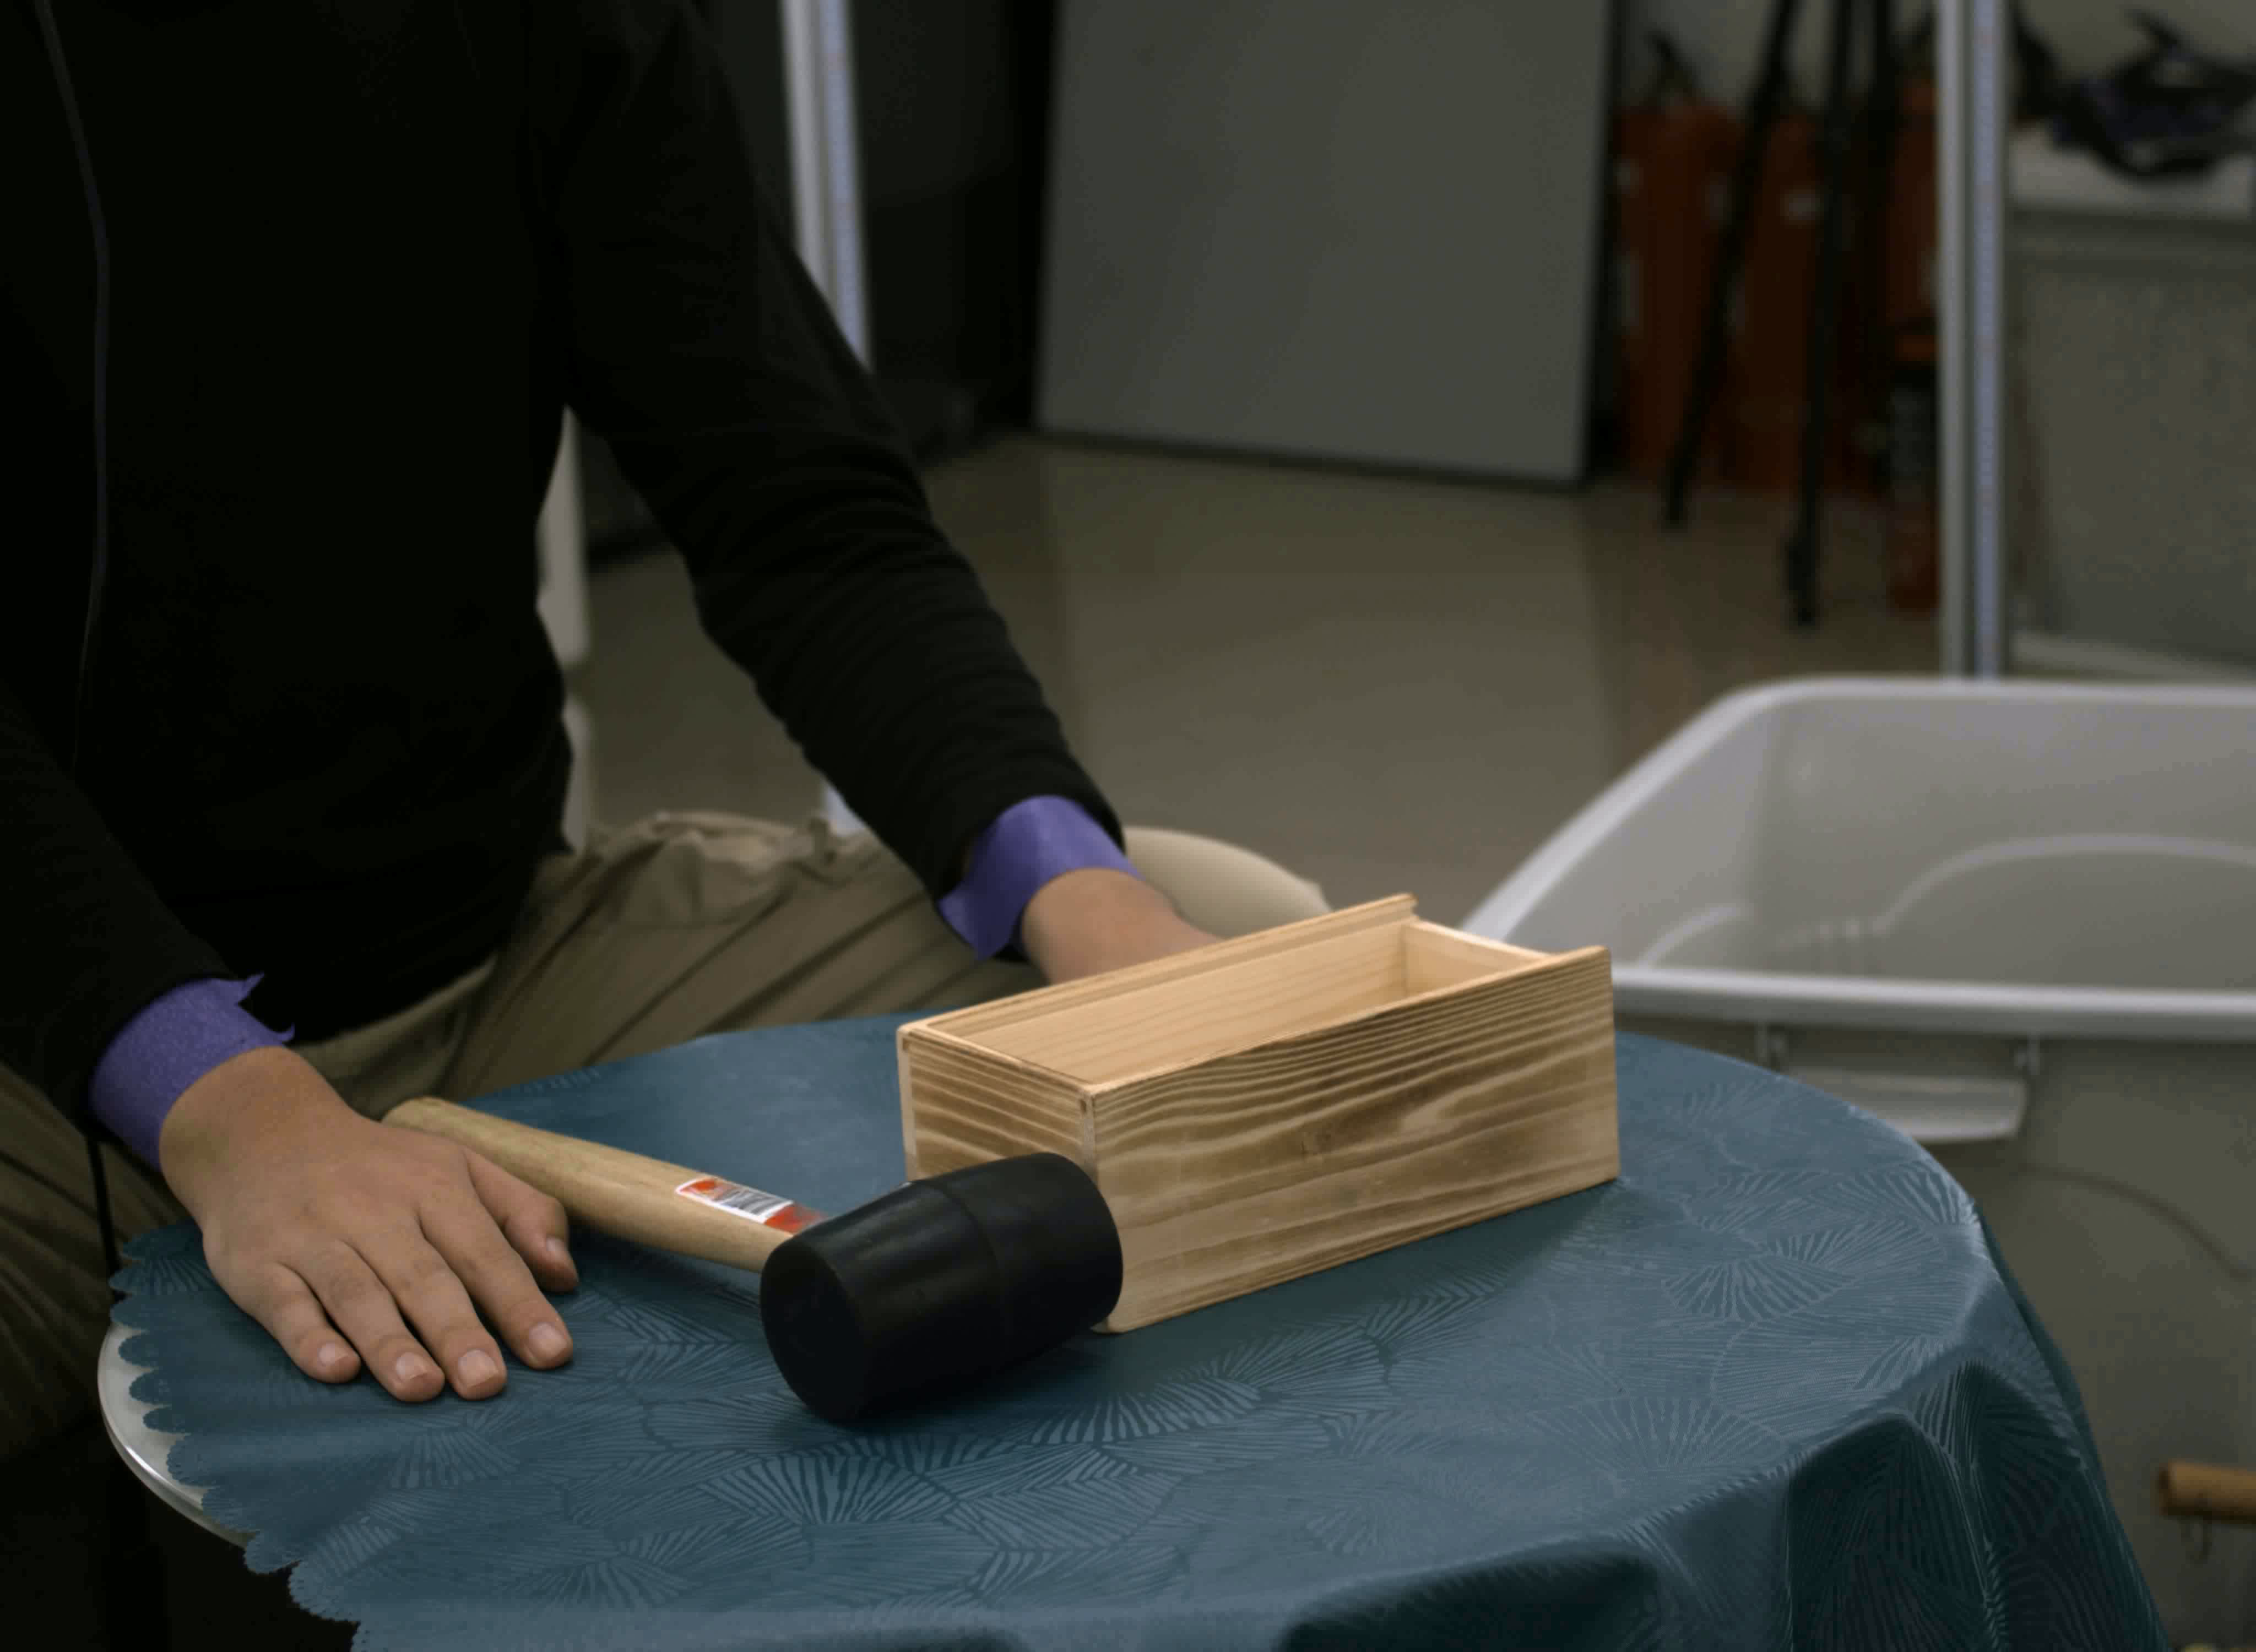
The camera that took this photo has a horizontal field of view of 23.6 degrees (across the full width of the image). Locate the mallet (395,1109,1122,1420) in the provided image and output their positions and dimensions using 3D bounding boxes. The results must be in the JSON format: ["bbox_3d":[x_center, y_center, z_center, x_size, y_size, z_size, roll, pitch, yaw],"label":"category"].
[{"bbox_3d":[-0.138,0.117,1.708,0.099,0.065,0.342,-12,15,-34],"label":"mallet"}]

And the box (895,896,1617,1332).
[{"bbox_3d":[0.043,0.089,1.725,0.207,0.081,0.108,-14,16,-34],"label":"box"}]
